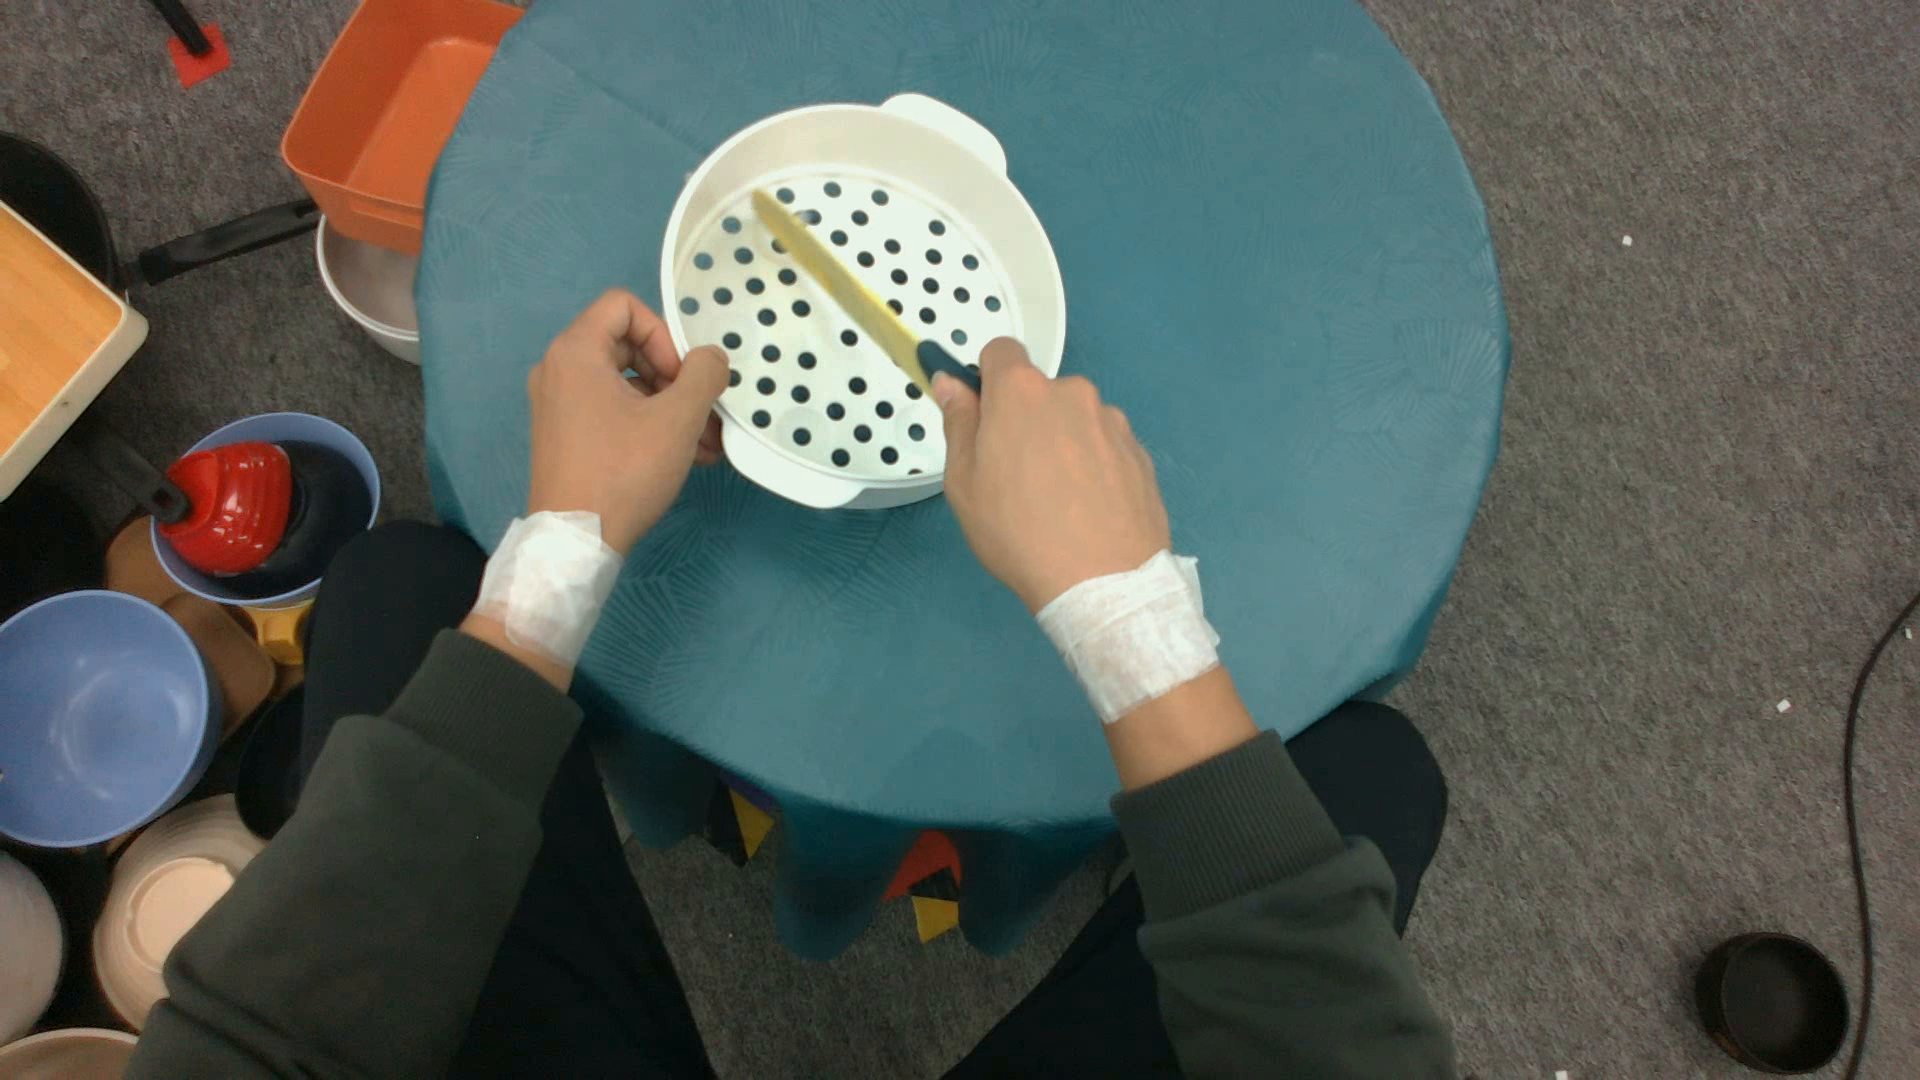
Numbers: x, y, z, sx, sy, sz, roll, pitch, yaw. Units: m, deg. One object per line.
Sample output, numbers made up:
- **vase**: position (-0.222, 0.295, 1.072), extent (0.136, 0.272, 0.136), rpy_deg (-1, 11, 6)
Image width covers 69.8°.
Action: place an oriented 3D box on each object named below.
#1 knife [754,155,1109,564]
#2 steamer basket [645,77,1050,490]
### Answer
- **knife**: position (-0.023, -0.091, 0.646), extent (0.027, 0.081, 0.290), rpy_deg (-37, 63, -4)
- **steamer basket**: position (-0.059, -0.125, 0.702), extent (0.202, 0.069, 0.231), rpy_deg (26, 71, -8)
